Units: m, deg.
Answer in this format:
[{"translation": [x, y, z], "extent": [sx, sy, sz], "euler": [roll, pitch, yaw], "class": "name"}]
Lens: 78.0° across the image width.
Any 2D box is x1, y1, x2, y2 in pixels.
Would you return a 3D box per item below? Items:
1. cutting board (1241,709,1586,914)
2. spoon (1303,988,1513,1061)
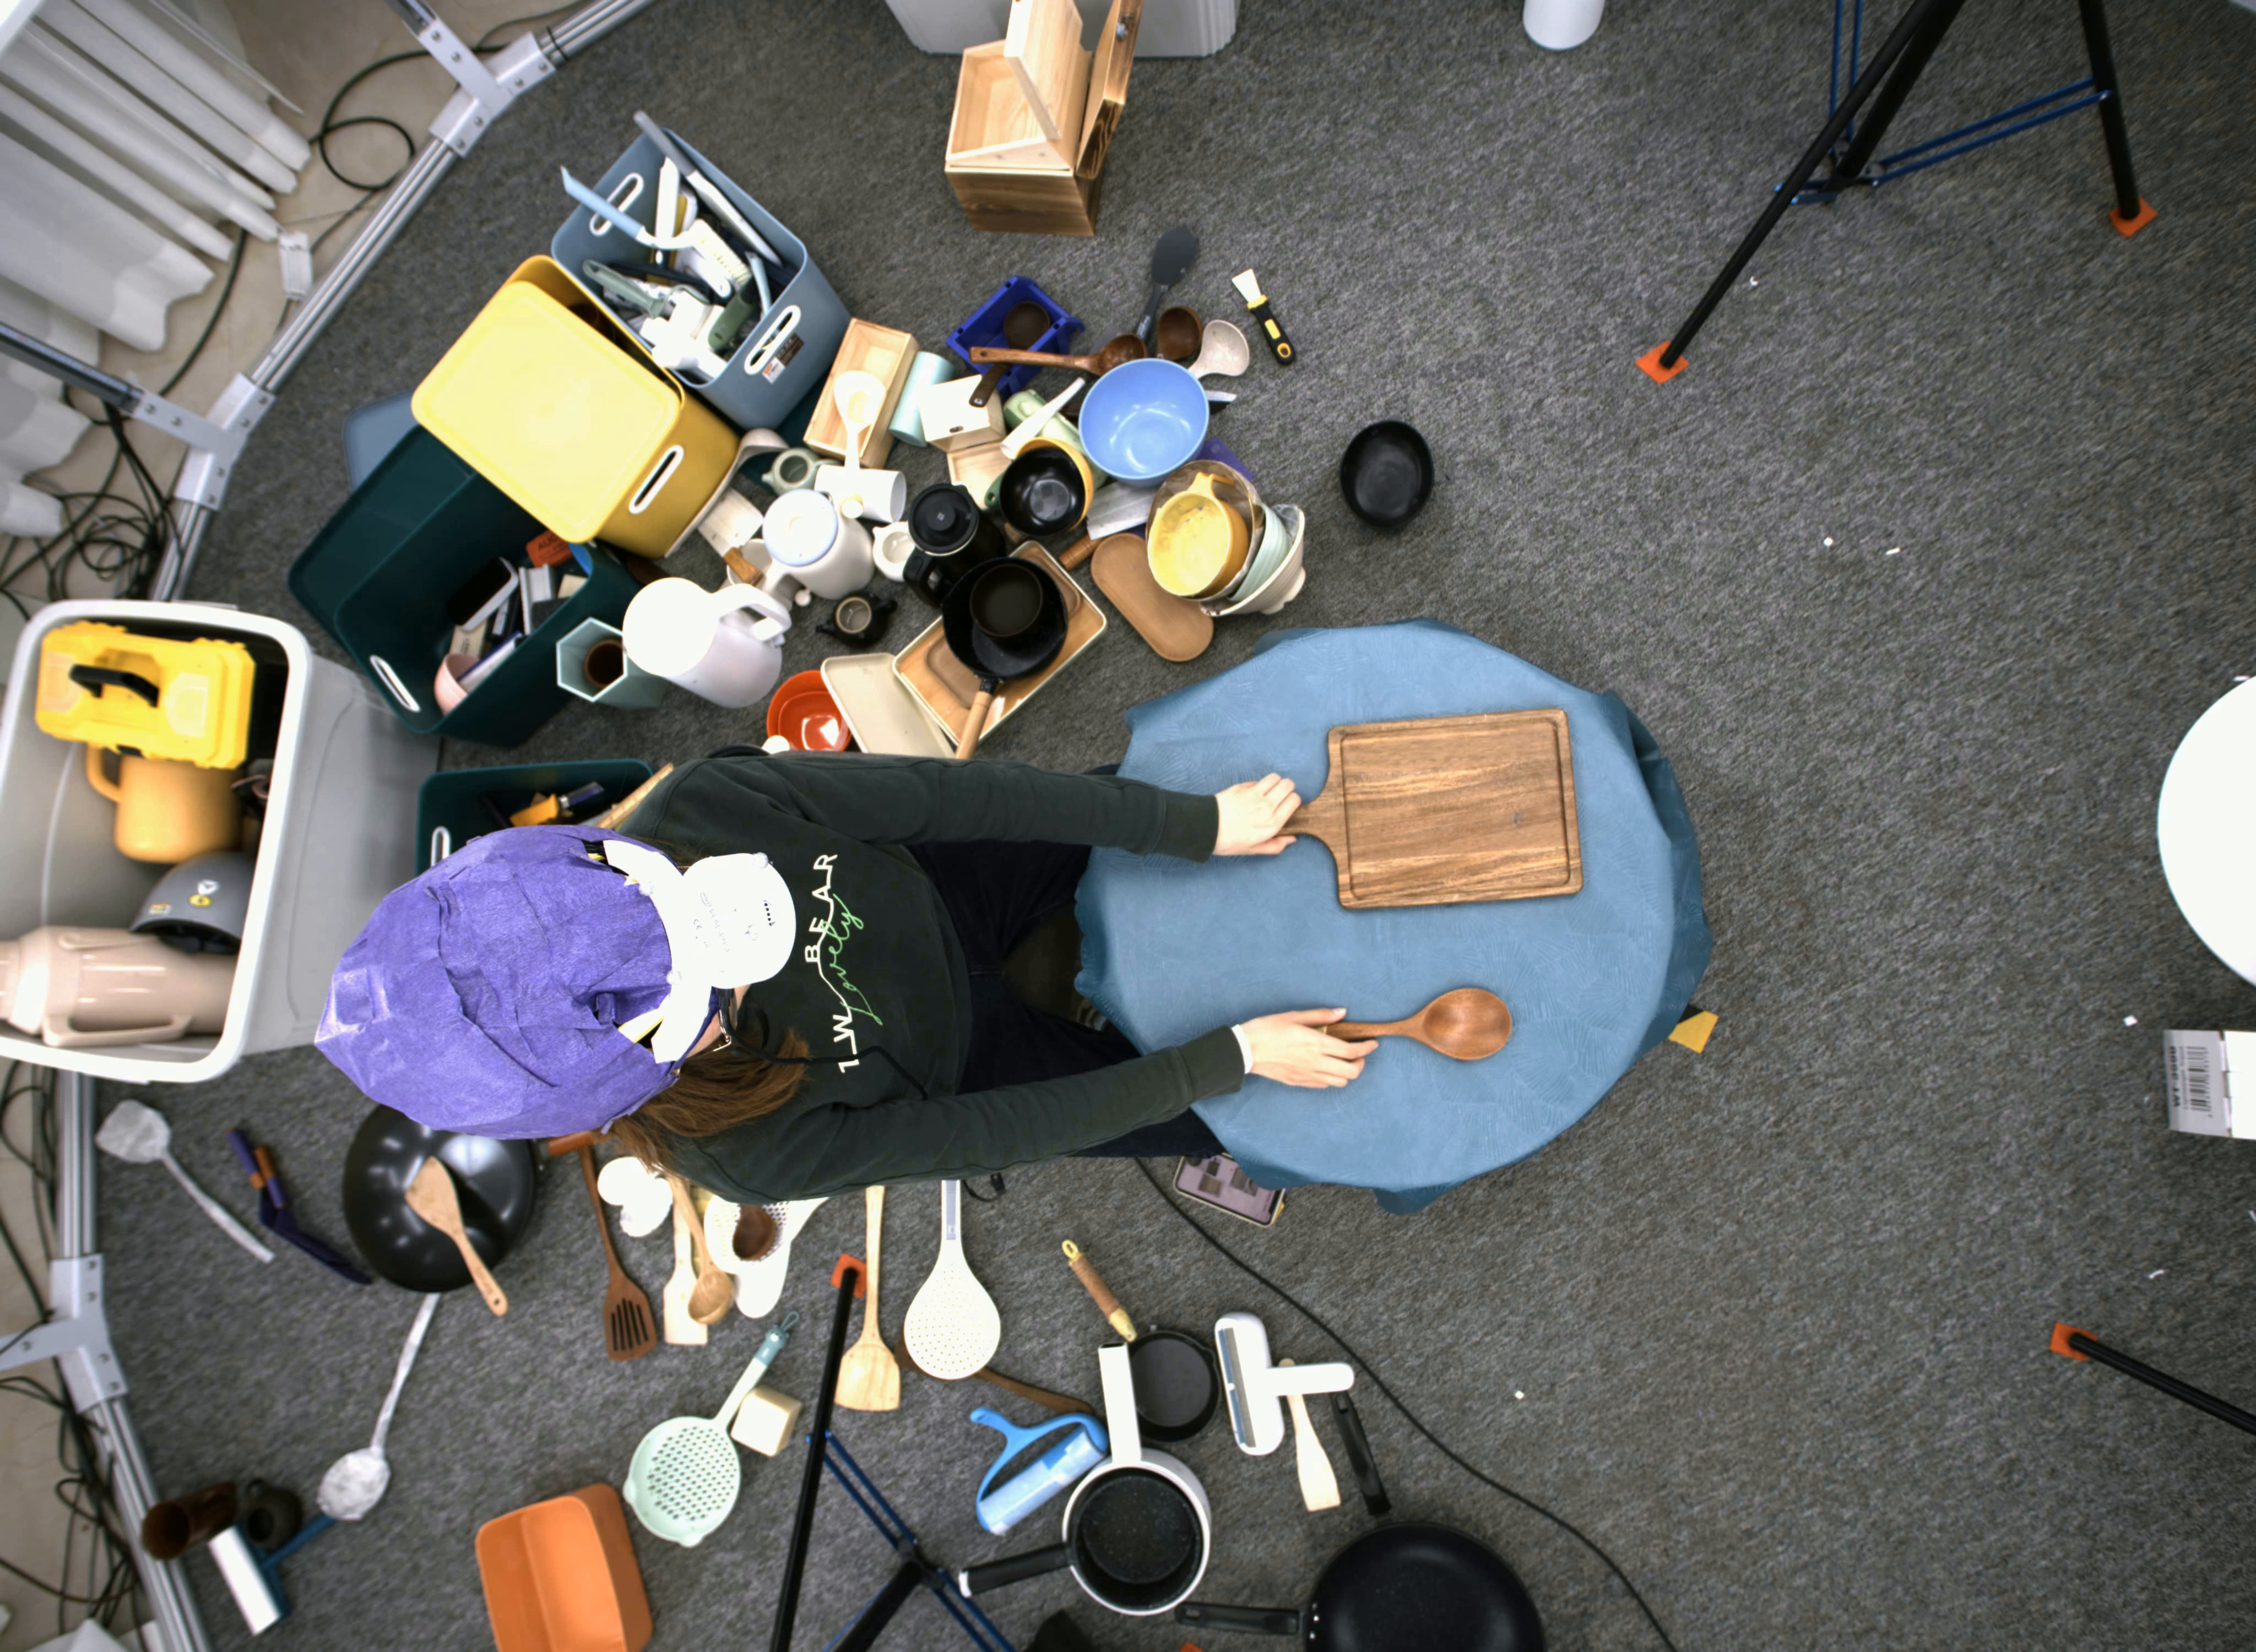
[{"translation": [0.295, -0.012, 1.457], "extent": [0.354, 0.023, 0.200], "euler": [-5, 86, 10], "class": "cutting board"}, {"translation": [0.291, 0.210, 1.442], "extent": [0.217, 0.017, 0.075], "euler": [-6, 87, 9], "class": "spoon"}]
